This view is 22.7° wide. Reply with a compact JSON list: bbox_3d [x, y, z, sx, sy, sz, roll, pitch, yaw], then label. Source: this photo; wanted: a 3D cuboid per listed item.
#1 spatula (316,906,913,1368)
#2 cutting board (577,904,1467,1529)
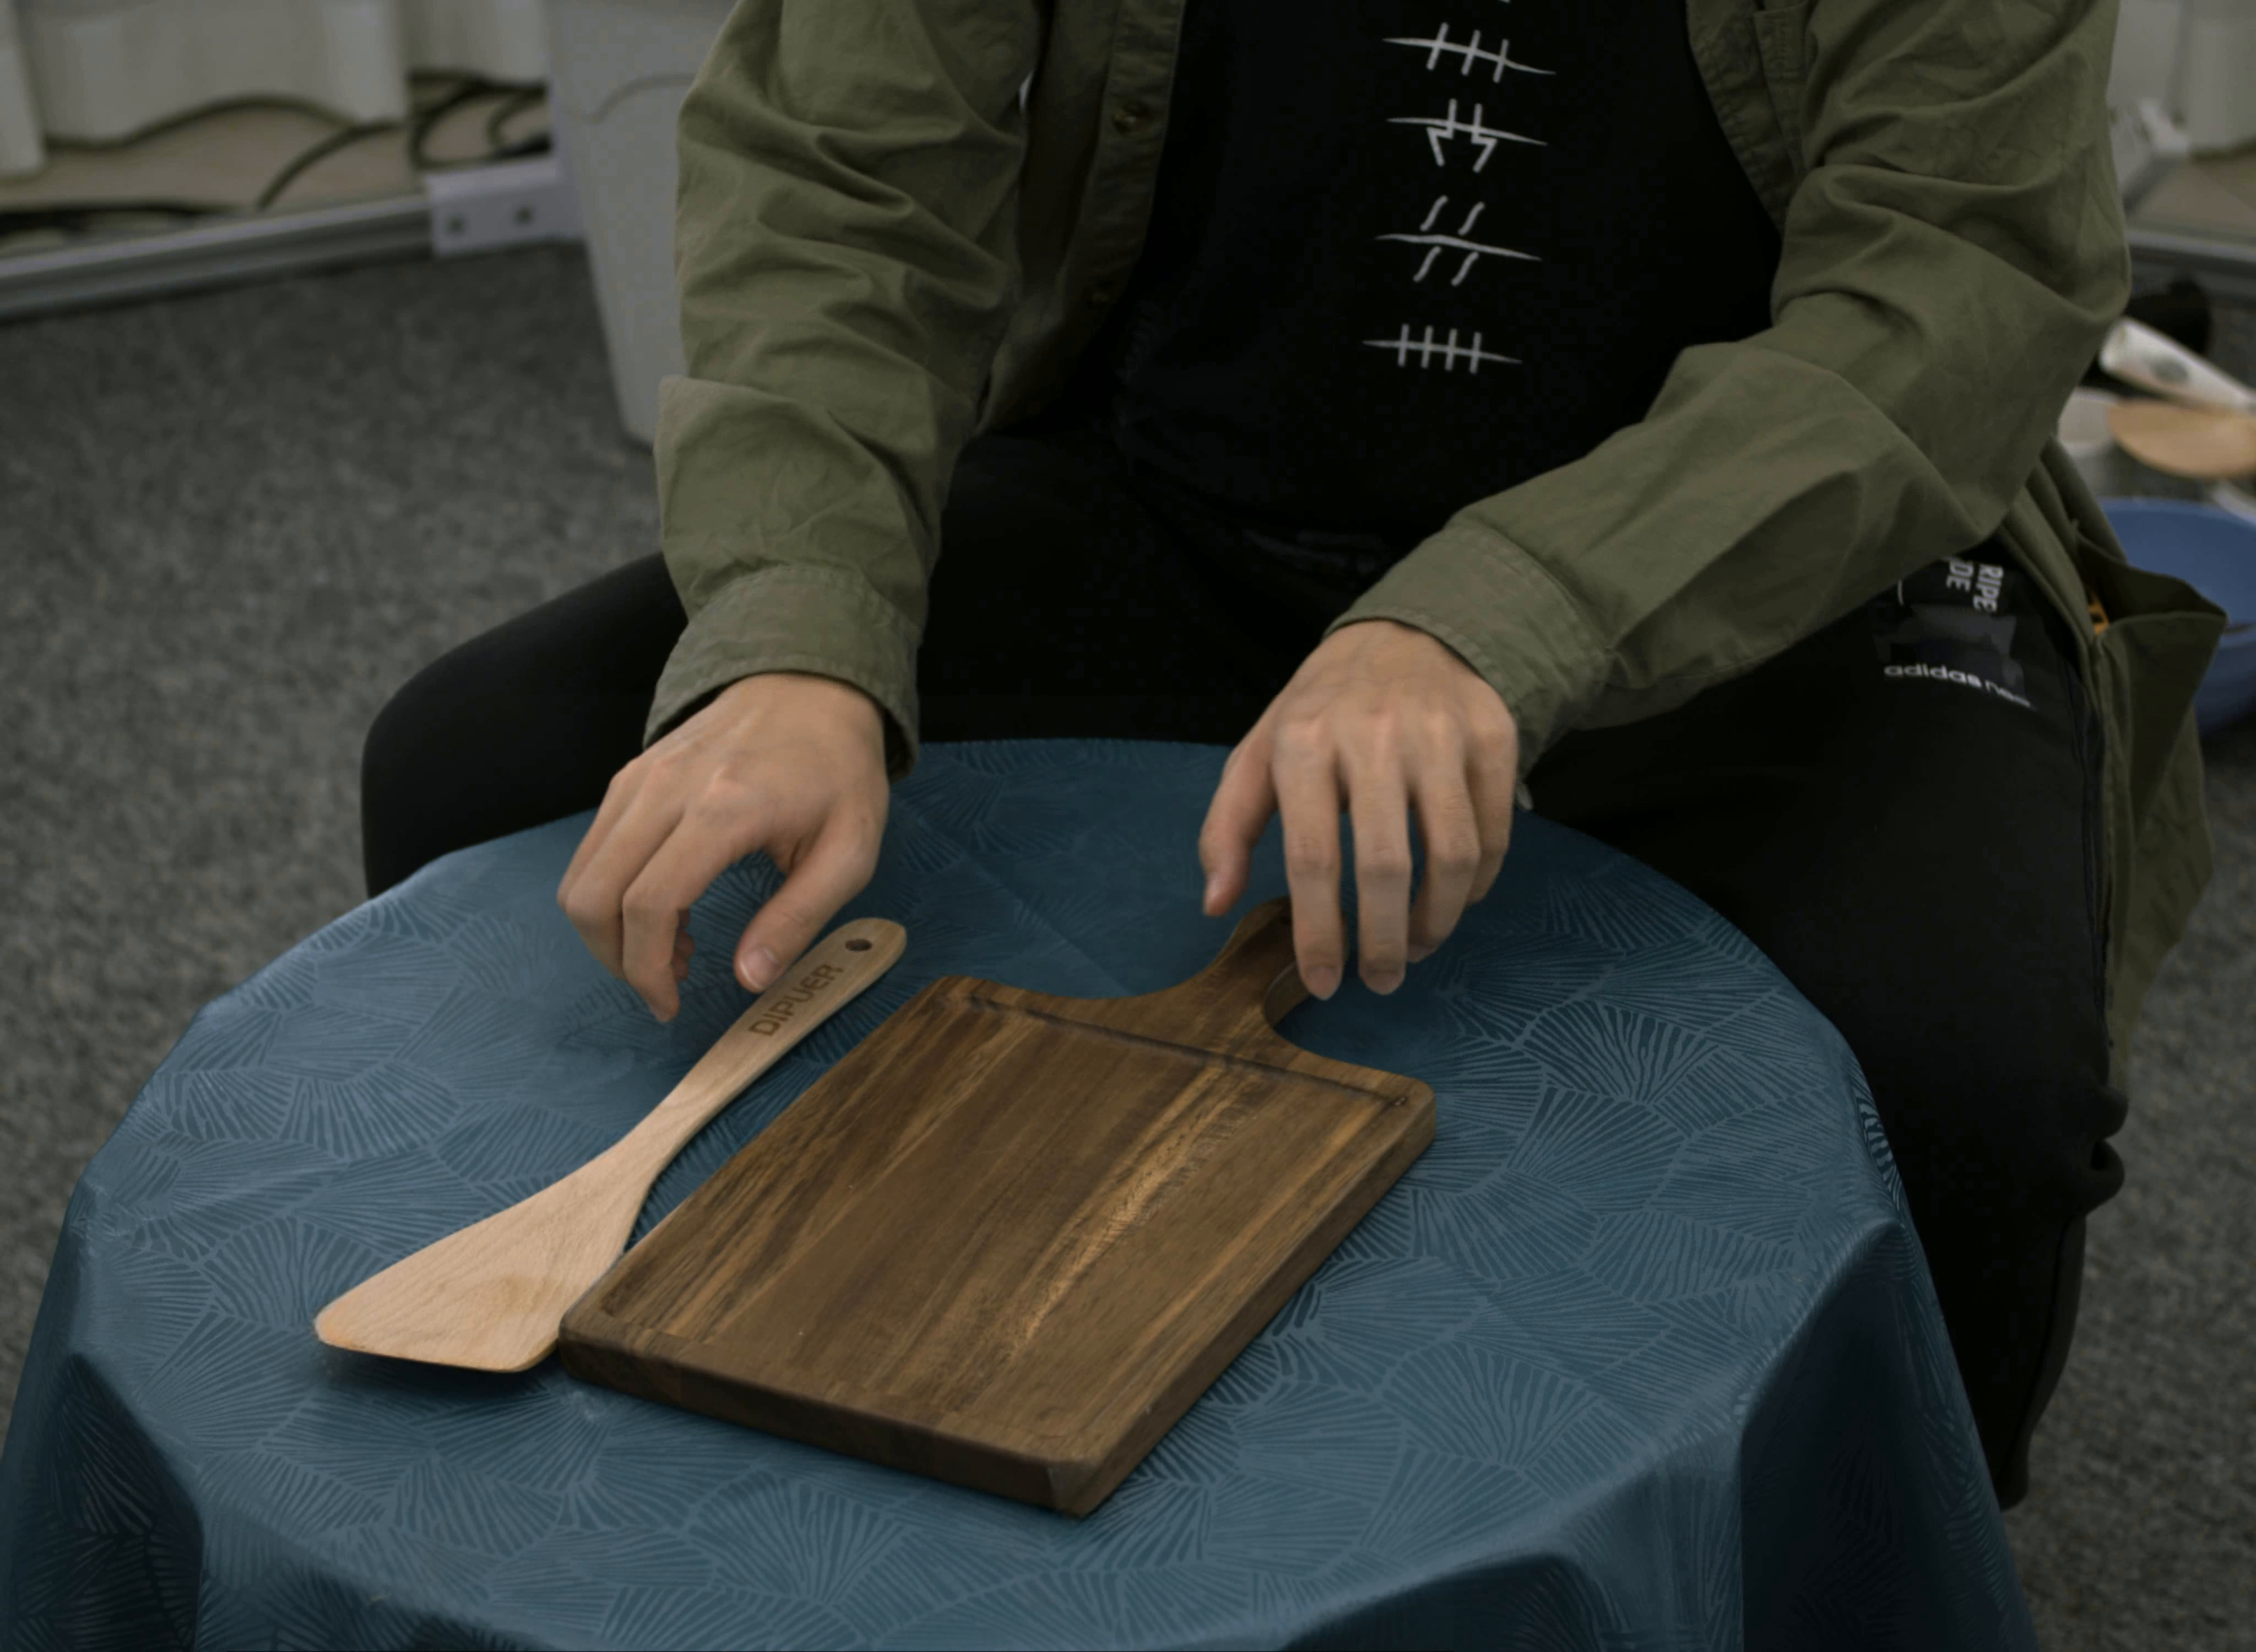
[{"bbox_3d":[-0.155,0.101,1.894,0.079,0.016,0.333,10,31,24],"label":"spatula"},{"bbox_3d":[-0.006,0.112,1.852,0.200,0.023,0.358,12,31,27],"label":"cutting board"}]
